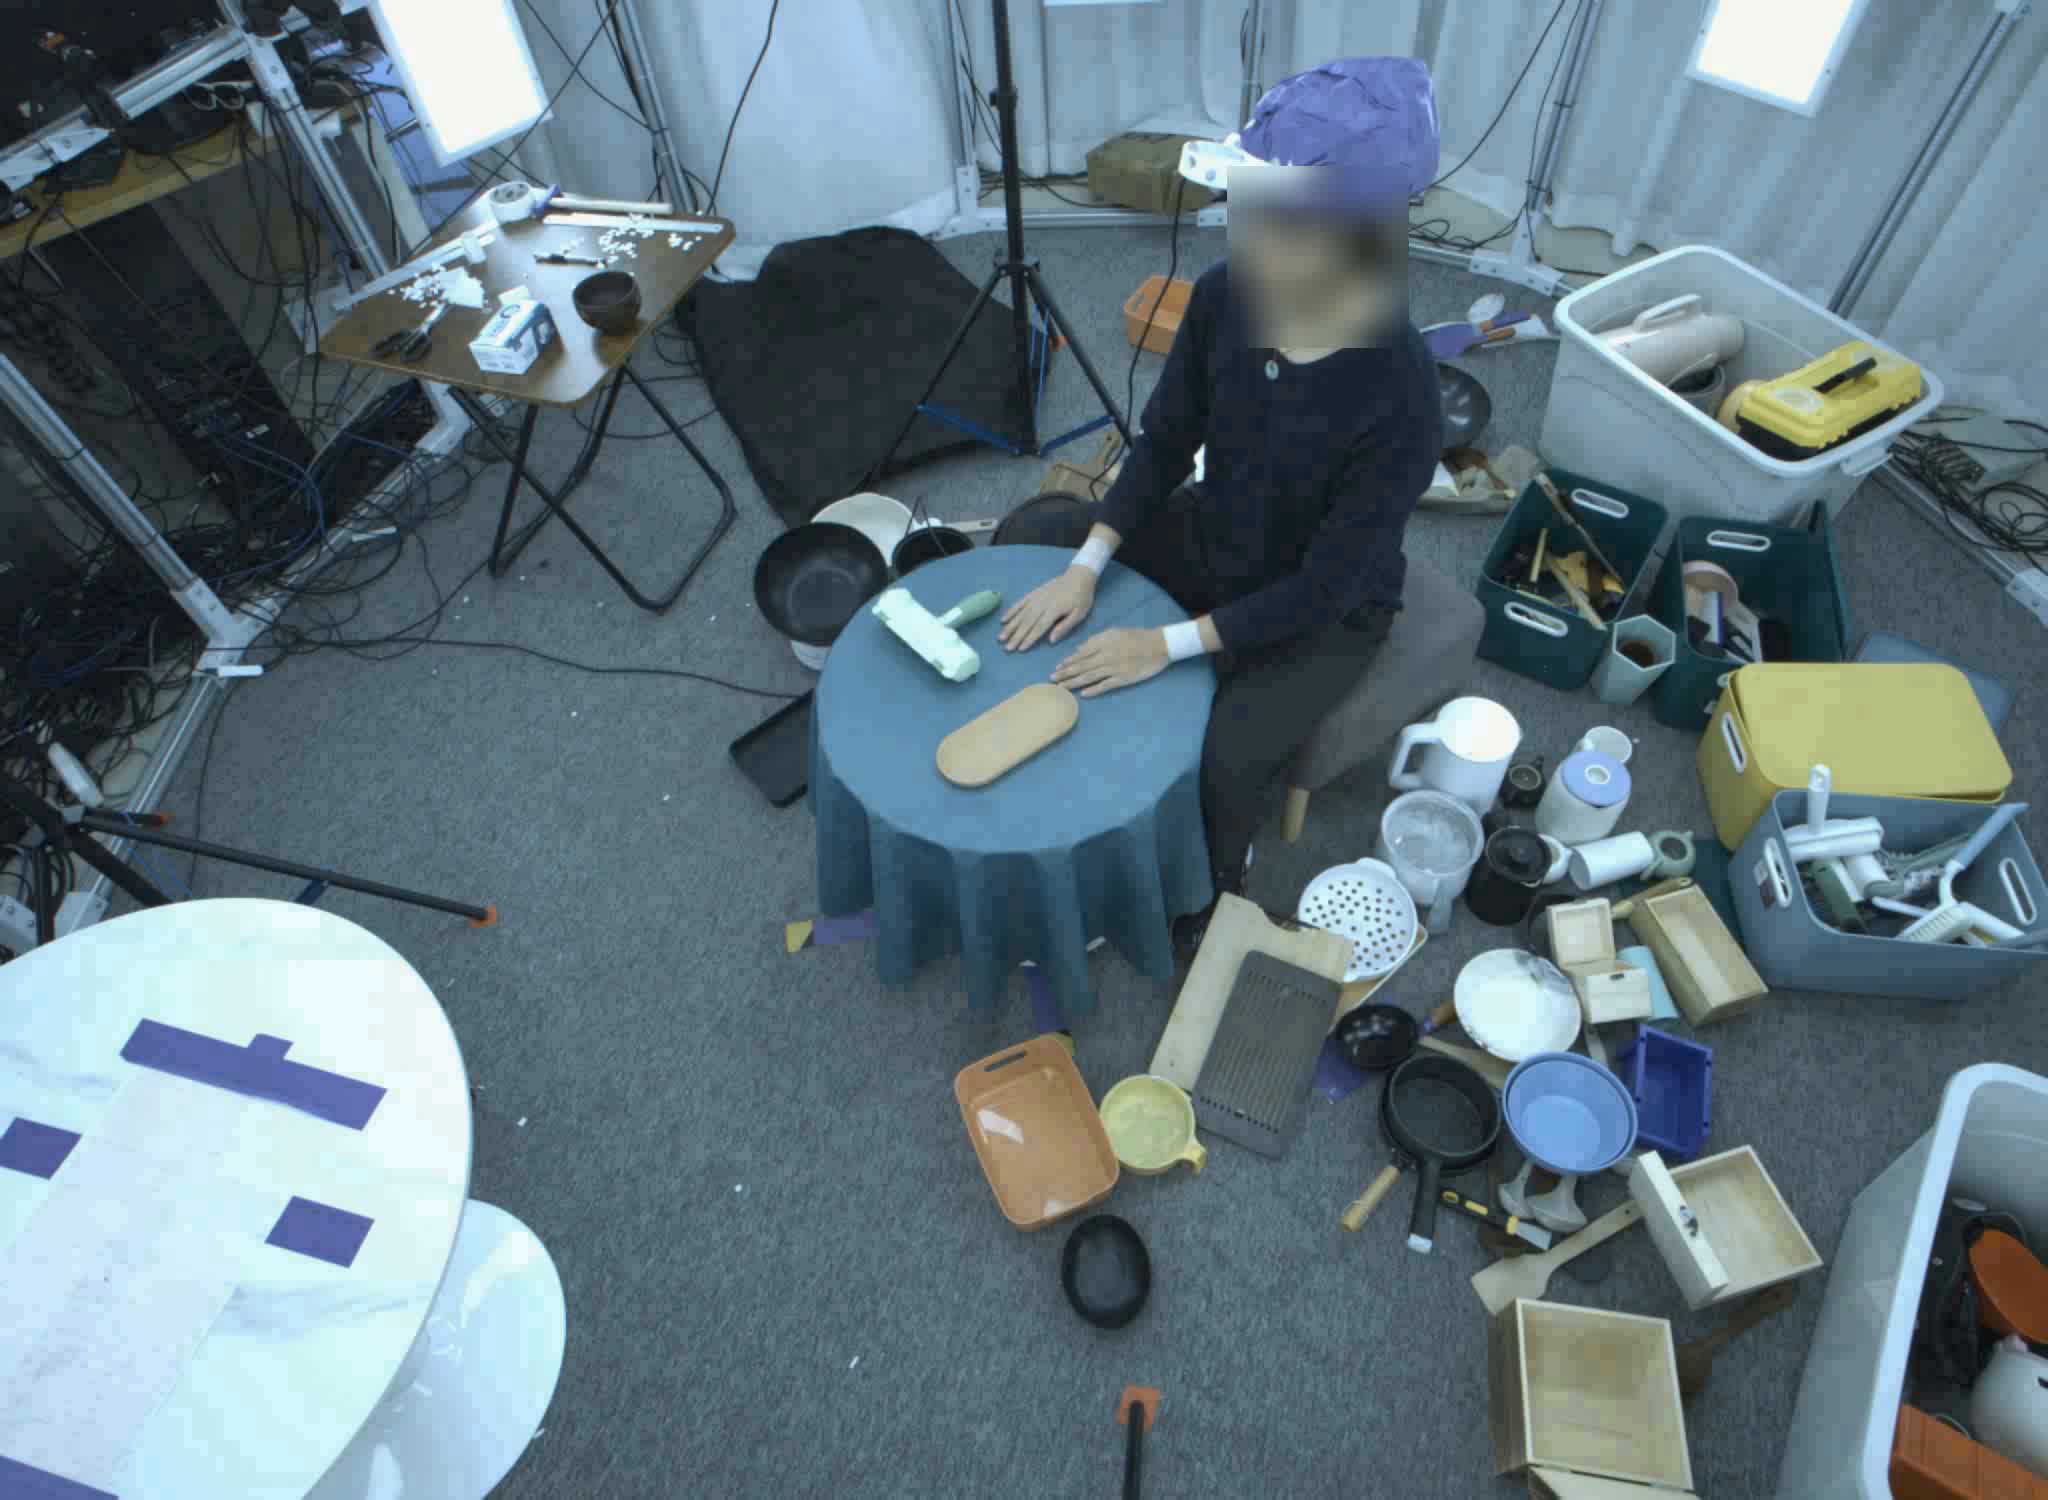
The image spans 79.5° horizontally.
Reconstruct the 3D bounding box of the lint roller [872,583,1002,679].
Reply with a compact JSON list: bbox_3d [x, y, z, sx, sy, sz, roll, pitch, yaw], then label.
[{"bbox_3d":[-0.109,-0.218,1.892,0.184,0.083,0.195,-41,63,-17],"label":"lint roller"}]

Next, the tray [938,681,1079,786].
[{"bbox_3d":[-0.021,-0.025,1.795,0.233,0.020,0.100,-32,60,-20],"label":"tray"}]
